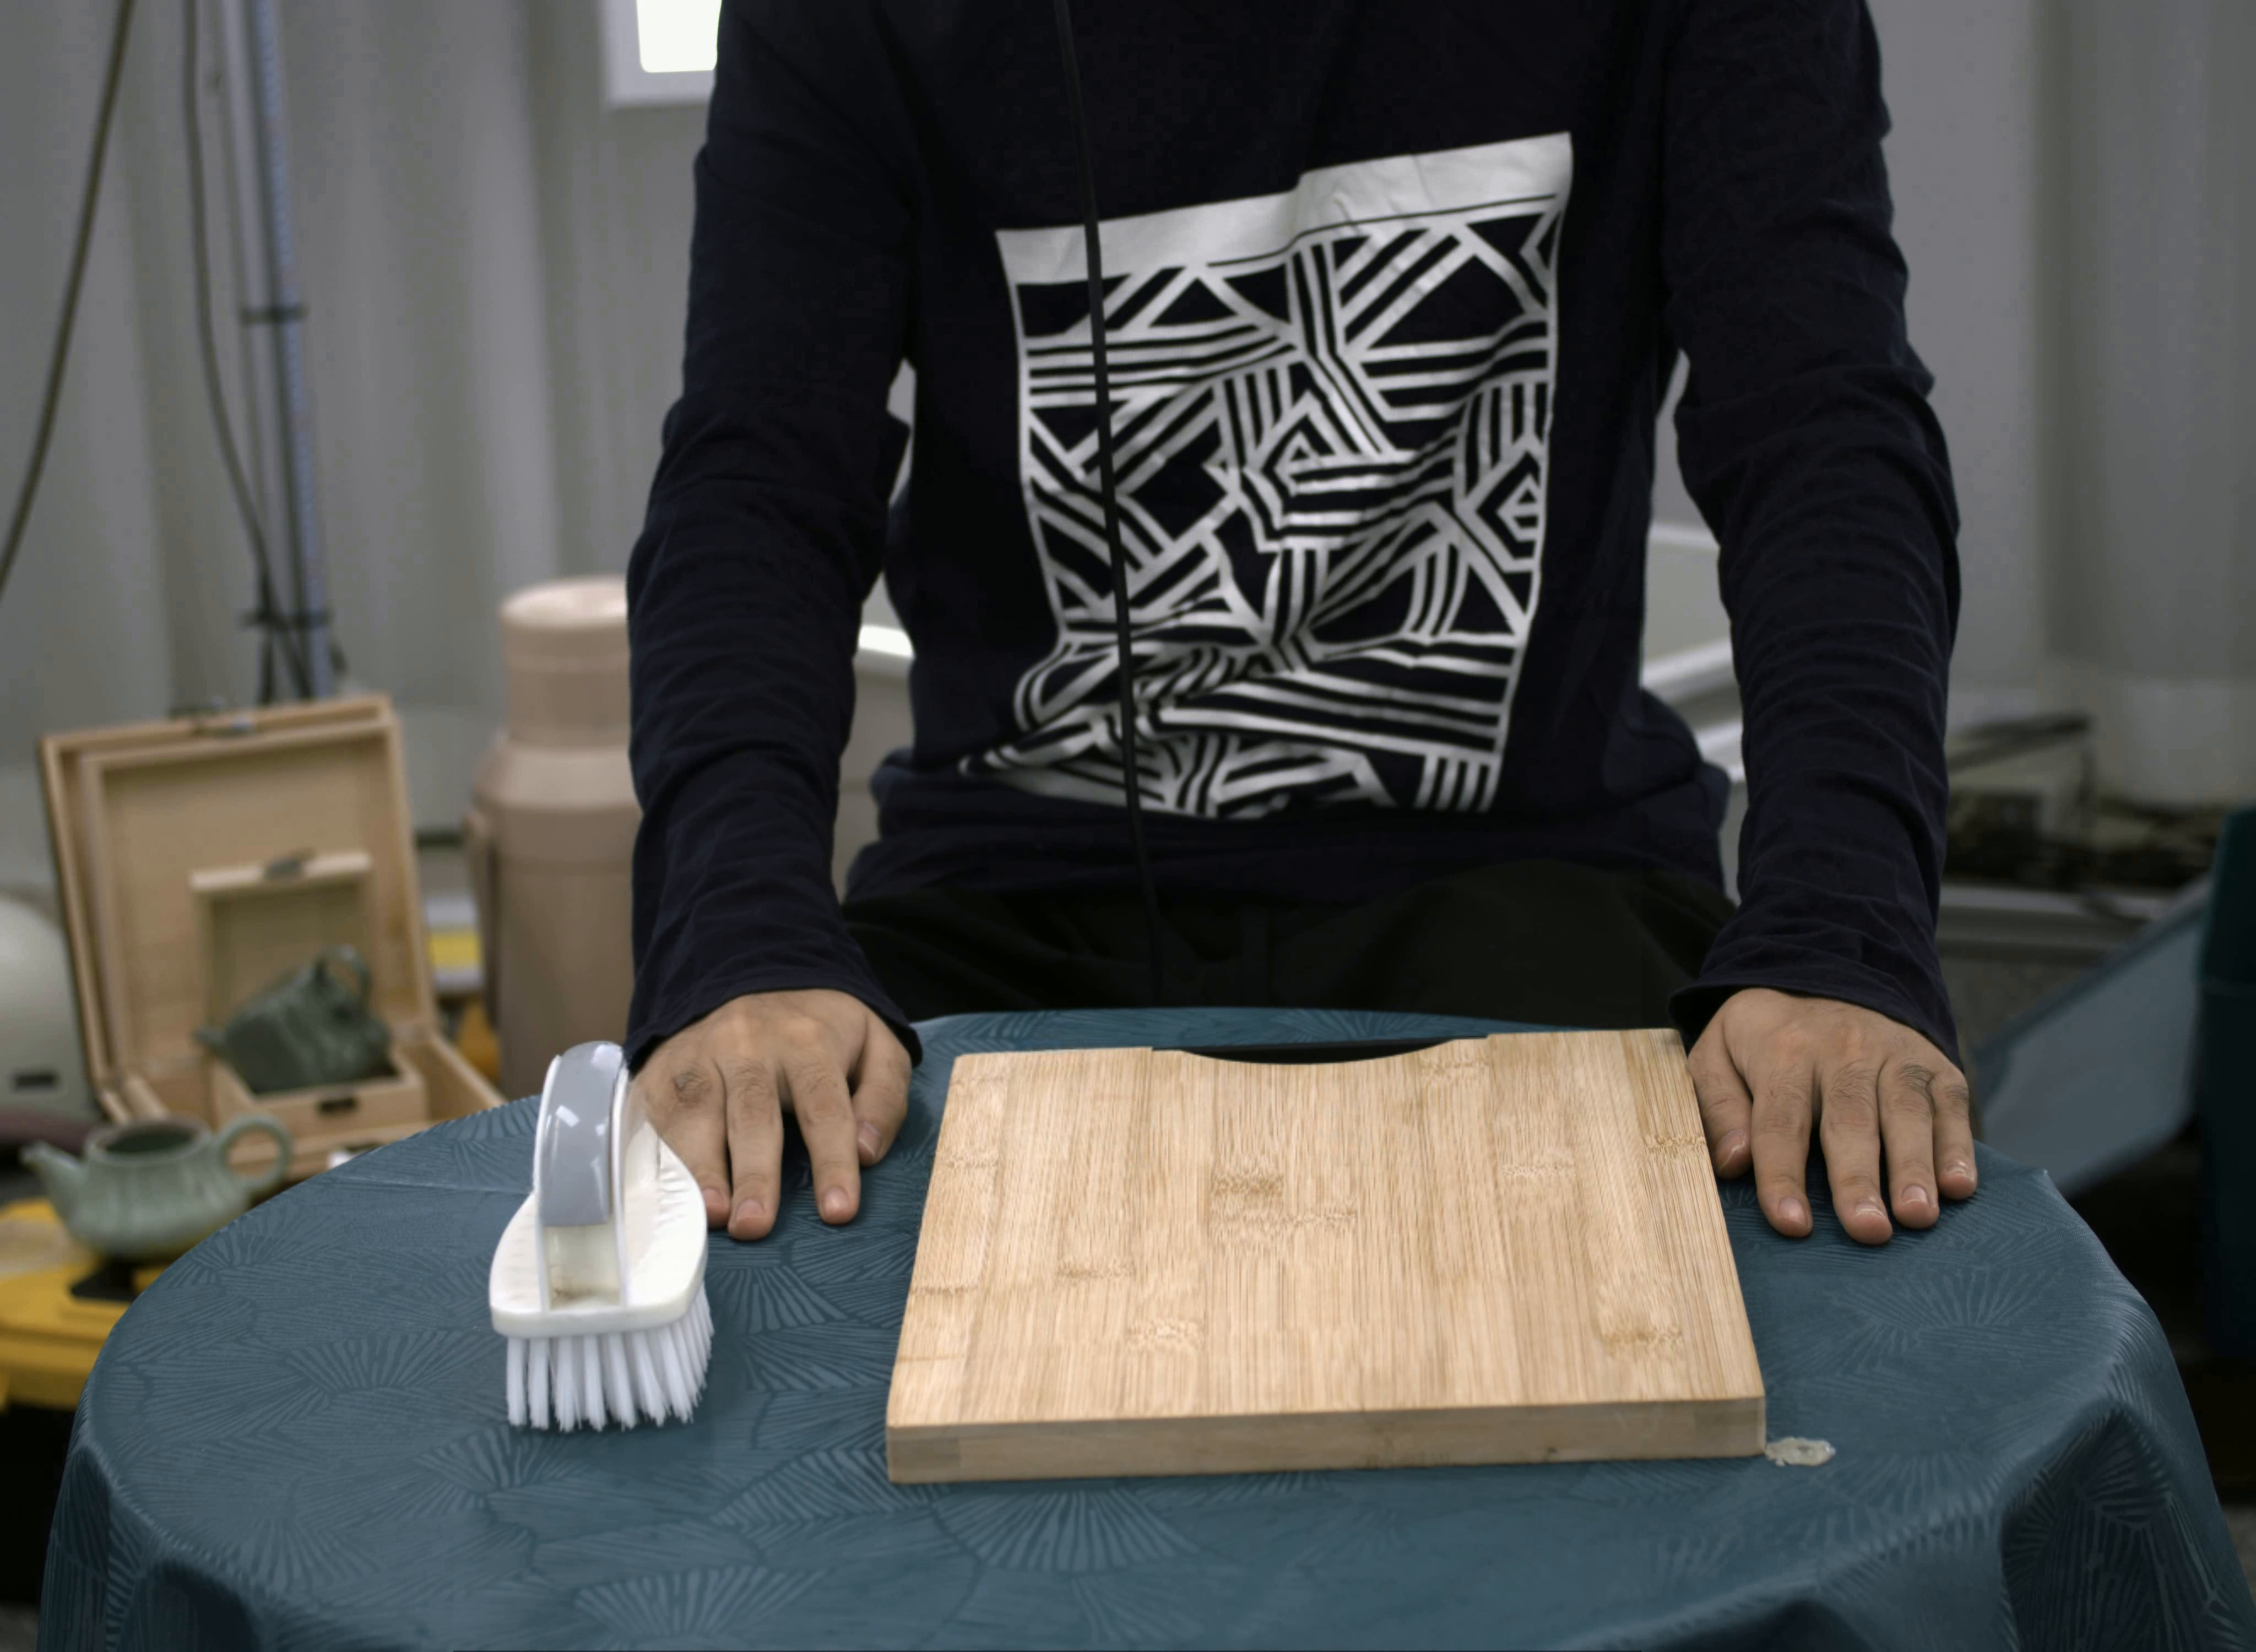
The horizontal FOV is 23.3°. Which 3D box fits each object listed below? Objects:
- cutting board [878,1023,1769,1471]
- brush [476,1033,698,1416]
[{"bbox_3d":[0.059,0.122,1.645,0.250,0.023,0.351,-2,15,1],"label":"cutting board"},{"bbox_3d":[-0.156,0.106,1.604,0.061,0.094,0.176,-3,12,1],"label":"brush"}]
